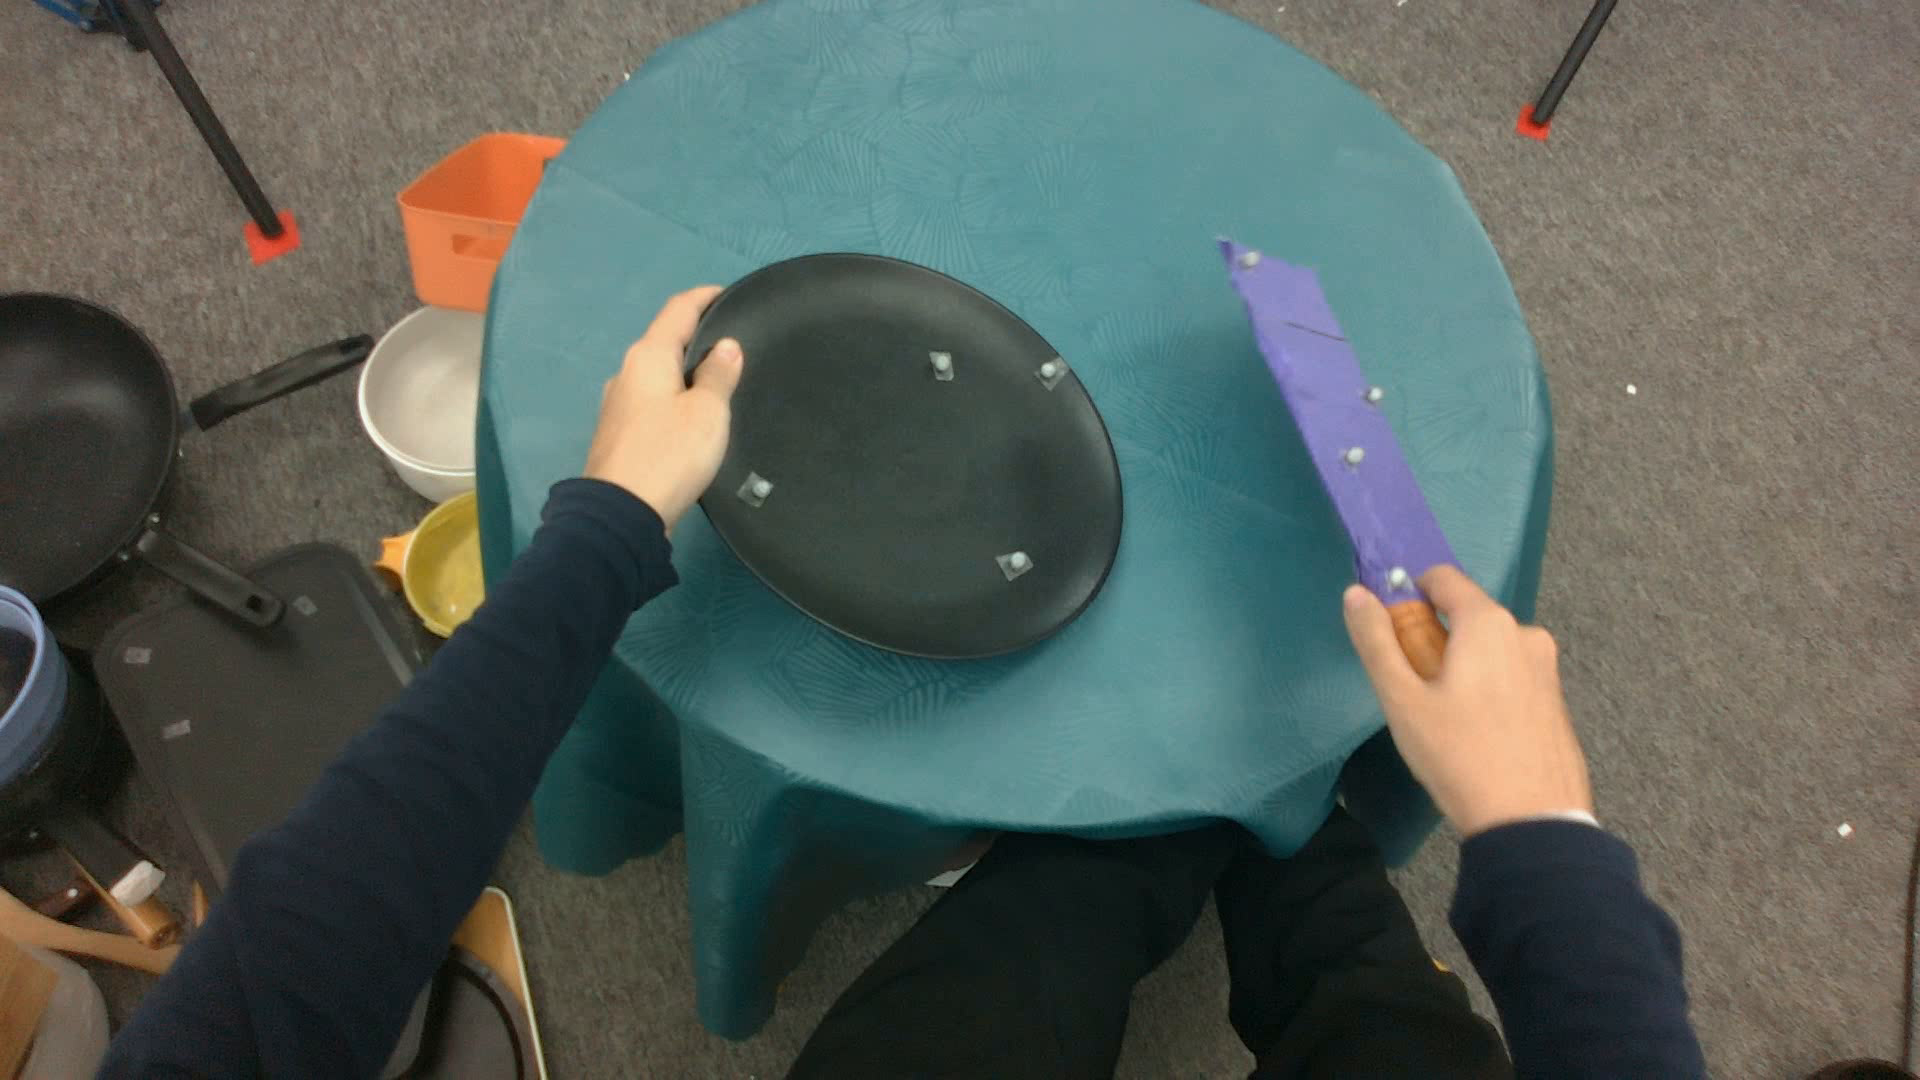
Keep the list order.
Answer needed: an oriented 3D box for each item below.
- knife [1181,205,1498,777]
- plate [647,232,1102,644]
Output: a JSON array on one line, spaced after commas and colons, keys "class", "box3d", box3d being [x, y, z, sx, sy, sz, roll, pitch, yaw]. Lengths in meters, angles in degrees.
[{"class": "knife", "box3d": [0.198, -0.037, 0.681, 0.104, 0.032, 0.316, 5, 58, -41]}, {"class": "plate", "box3d": [-0.038, -0.054, 0.696, 0.244, 0.023, 0.245, 14, 55, -21]}]
